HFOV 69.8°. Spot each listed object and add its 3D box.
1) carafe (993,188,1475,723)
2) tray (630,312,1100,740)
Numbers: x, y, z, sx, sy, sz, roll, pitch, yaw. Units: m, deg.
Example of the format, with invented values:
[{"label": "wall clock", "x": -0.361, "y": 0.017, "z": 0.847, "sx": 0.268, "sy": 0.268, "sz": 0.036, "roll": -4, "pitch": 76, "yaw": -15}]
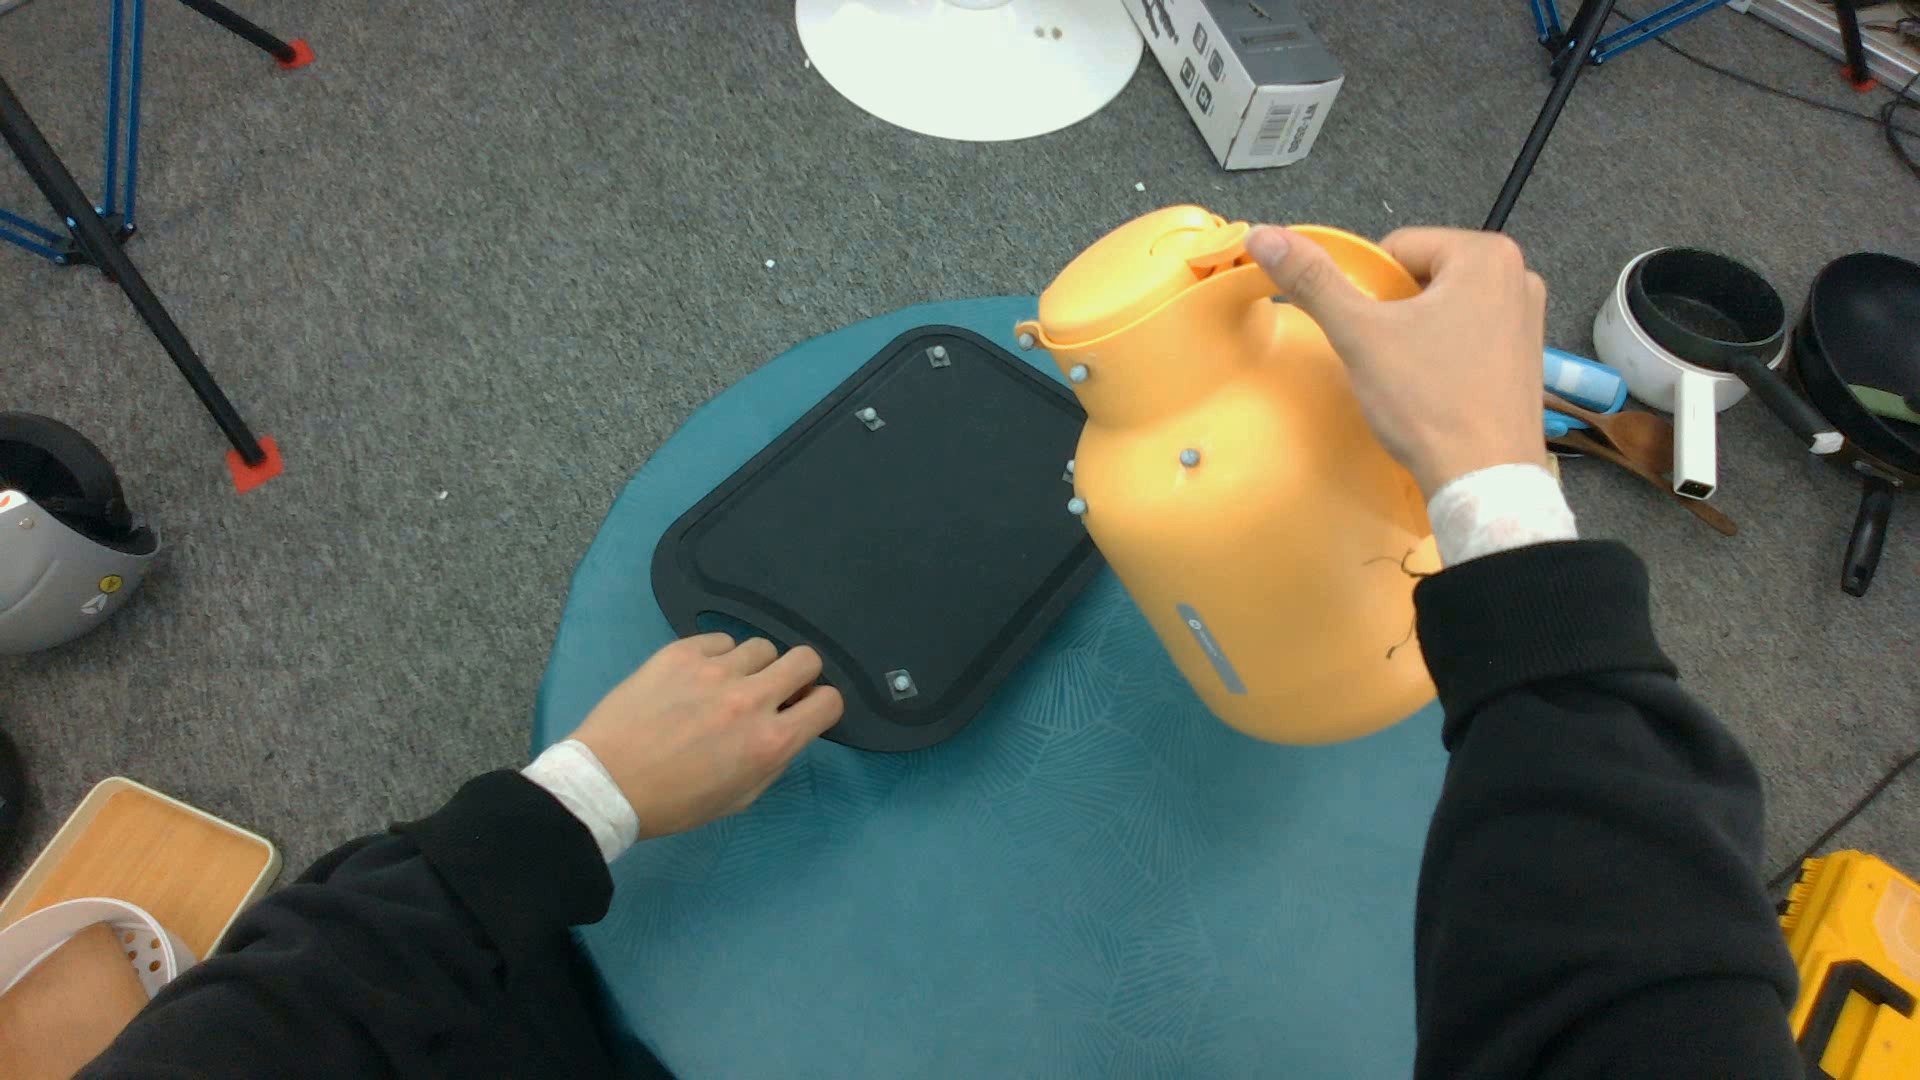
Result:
[{"label": "carafe", "x": 0.142, "y": -0.043, "z": 0.653, "sx": 0.260, "sy": 0.202, "sz": 0.164, "roll": 51, "pitch": 57, "yaw": -26}, {"label": "tray", "x": -0.036, "y": -0.020, "z": 0.824, "sx": 0.211, "sy": 0.010, "sz": 0.327, "roll": 33, "pitch": 52, "yaw": 15}]
